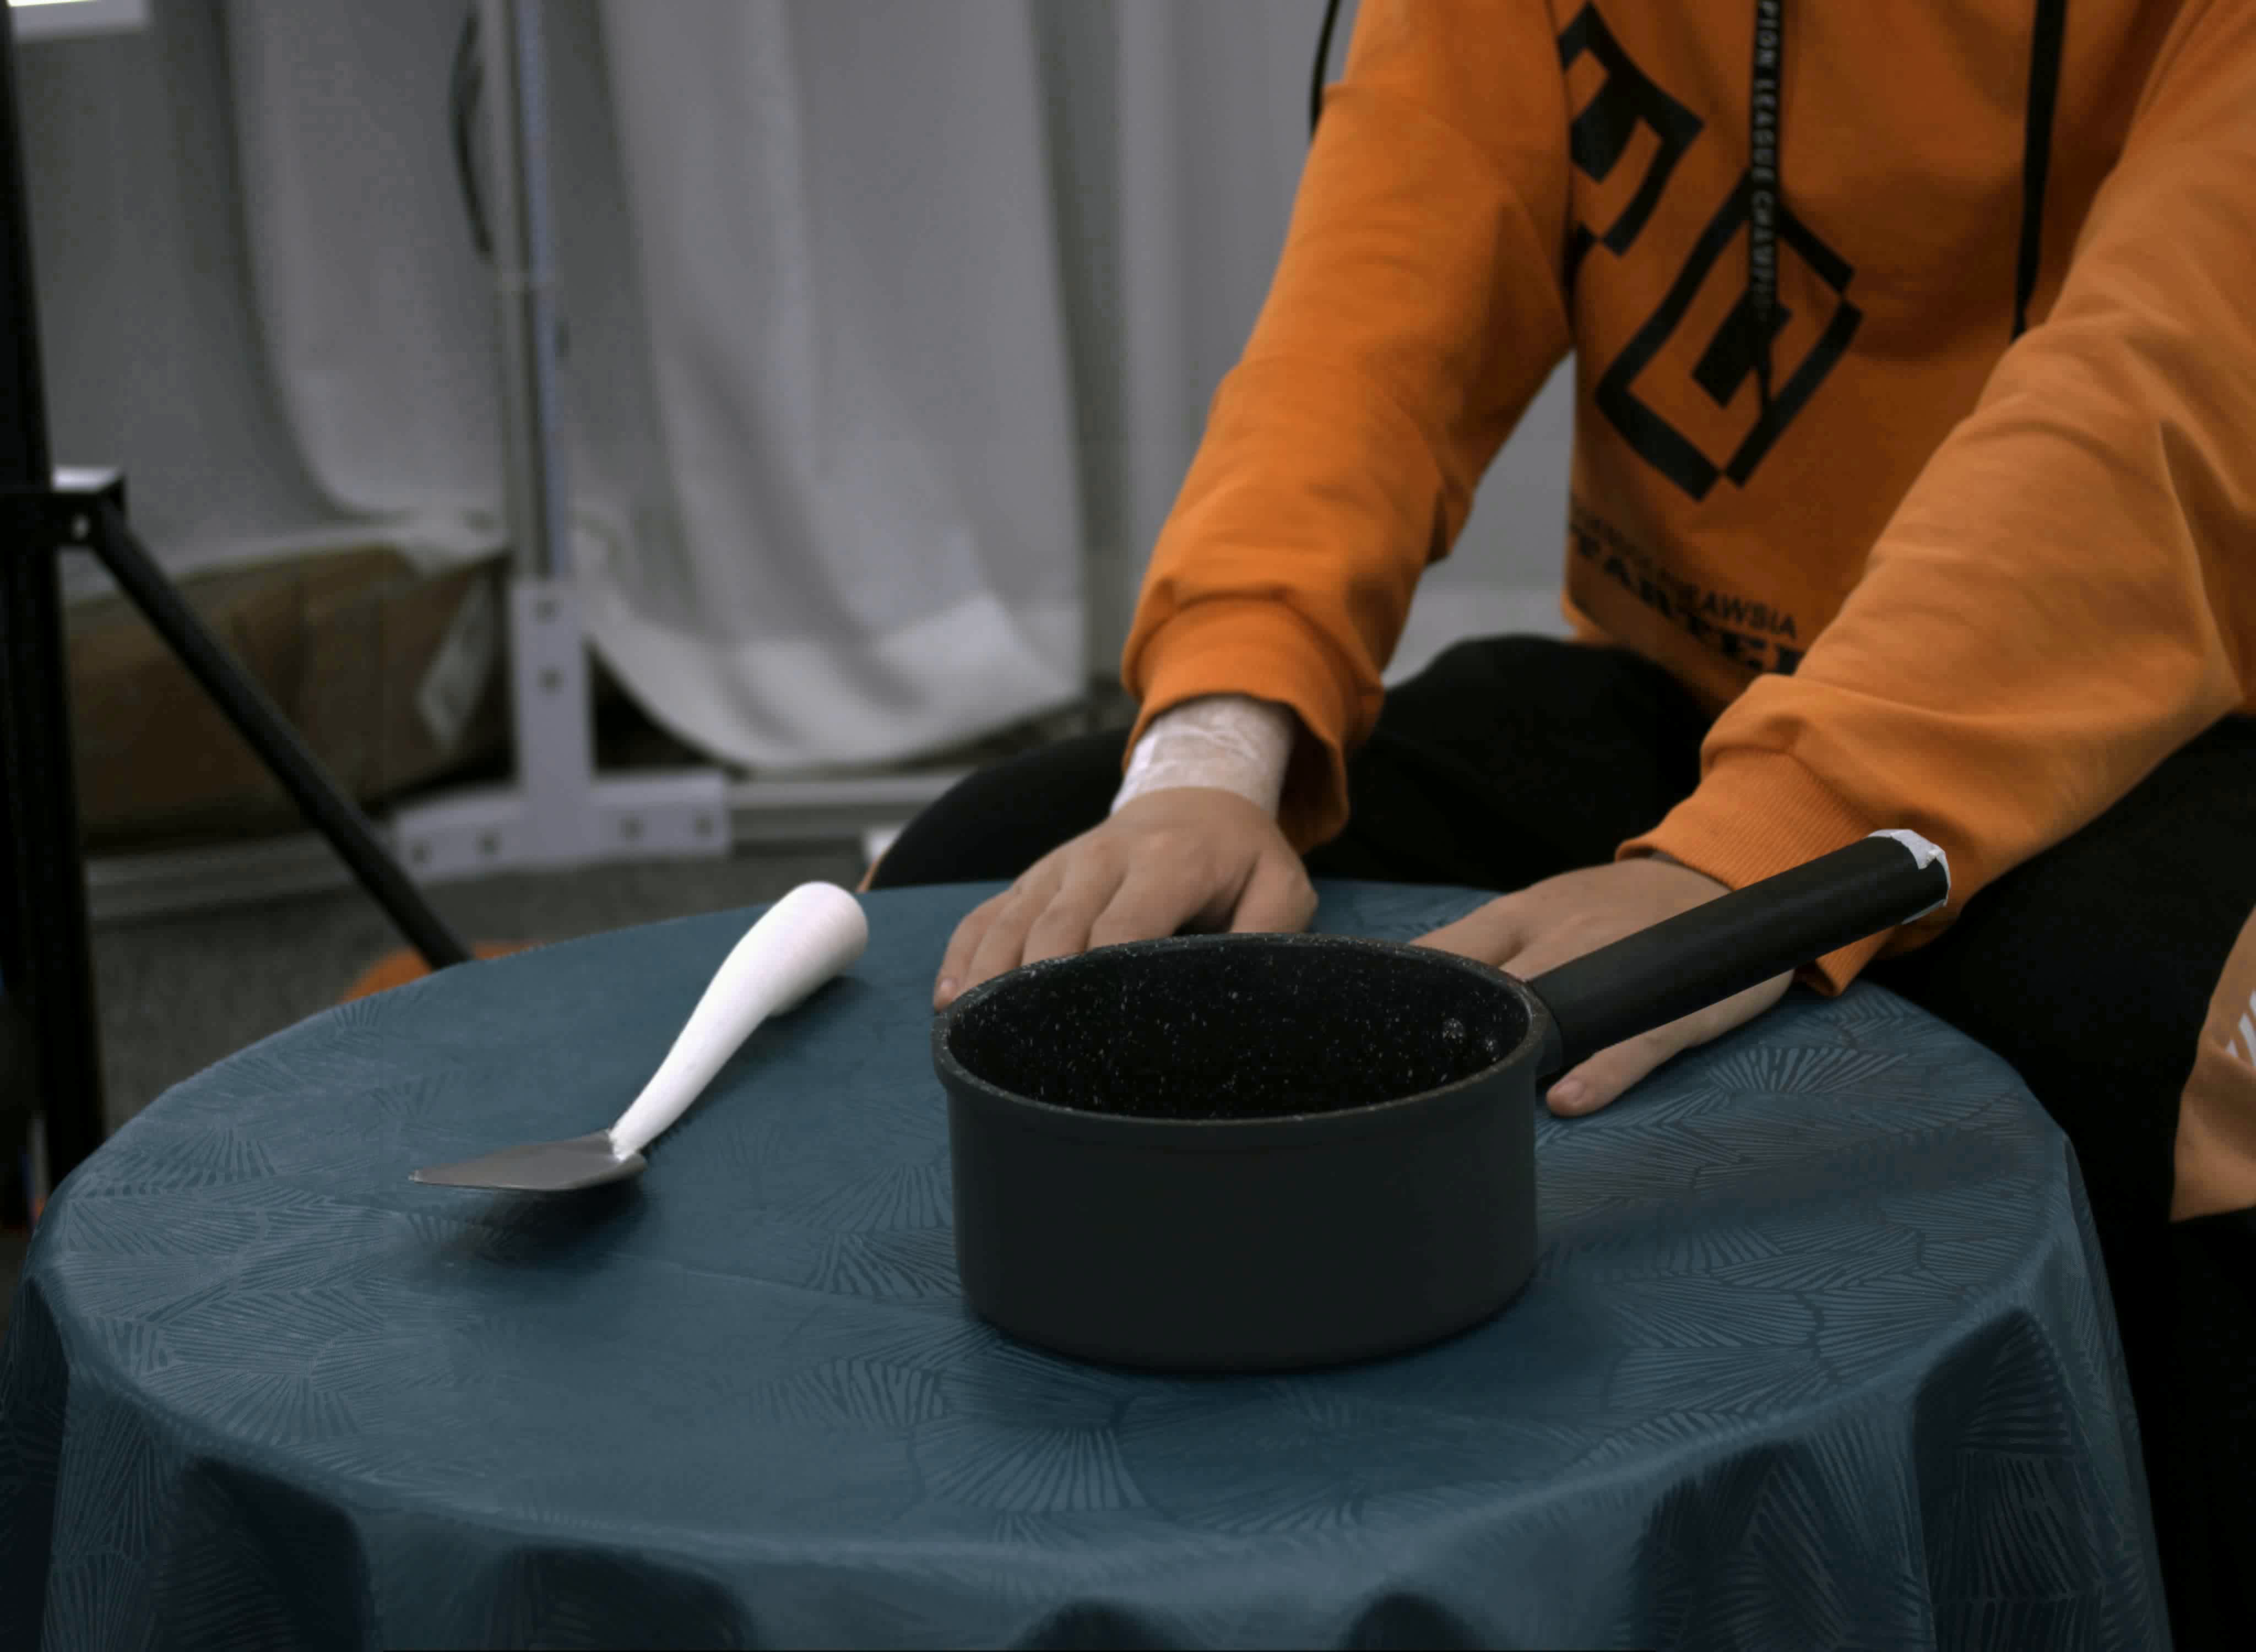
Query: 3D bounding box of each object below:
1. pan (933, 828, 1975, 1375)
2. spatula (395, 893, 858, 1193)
[{"bbox_3d":[0.101,0.073,1.507,0.322,0.086,0.175,-12,19,-25],"label":"pan"},{"bbox_3d":[-0.144,0.074,1.644,0.059,0.032,0.285,6,17,16],"label":"spatula"}]
